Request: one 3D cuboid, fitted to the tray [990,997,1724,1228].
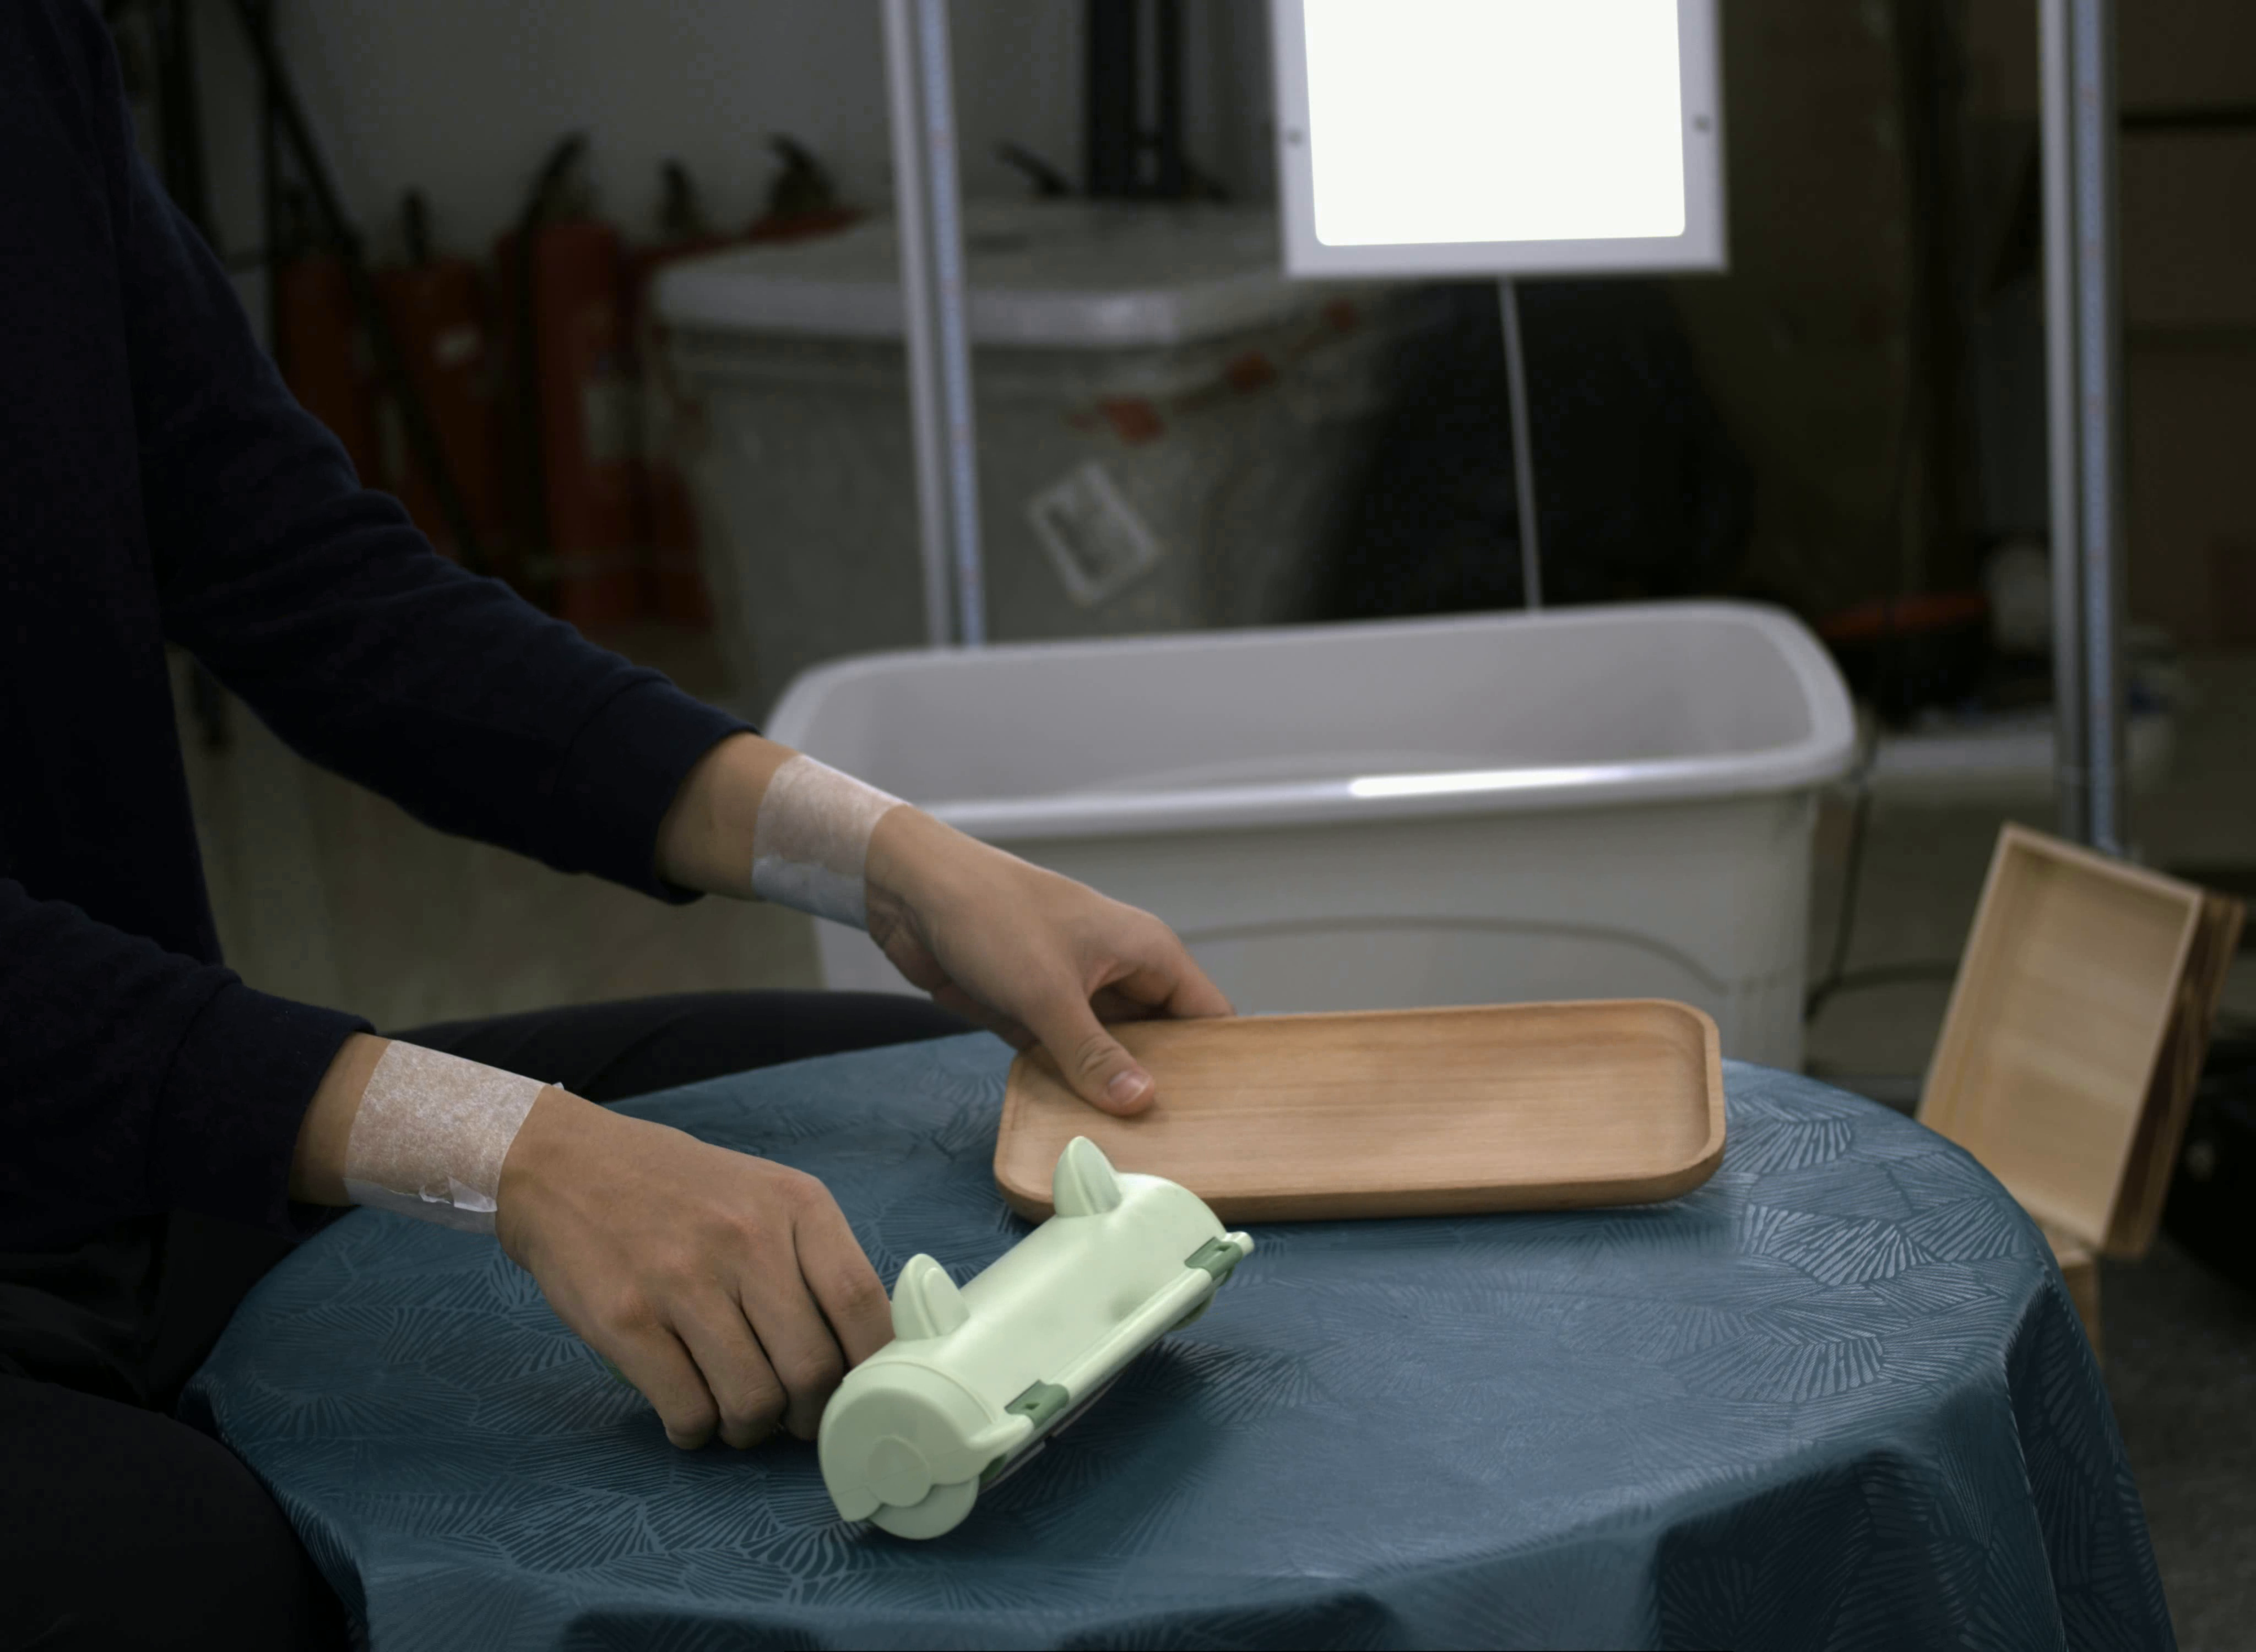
[{"bbox_3d":[0.080,0.100,1.894,0.252,0.023,0.129,-4,24,9],"label":"tray"}]

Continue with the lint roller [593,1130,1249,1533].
[{"bbox_3d":[-0.080,0.140,1.678,0.186,0.082,0.194,10,18,23],"label":"lint roller"}]
